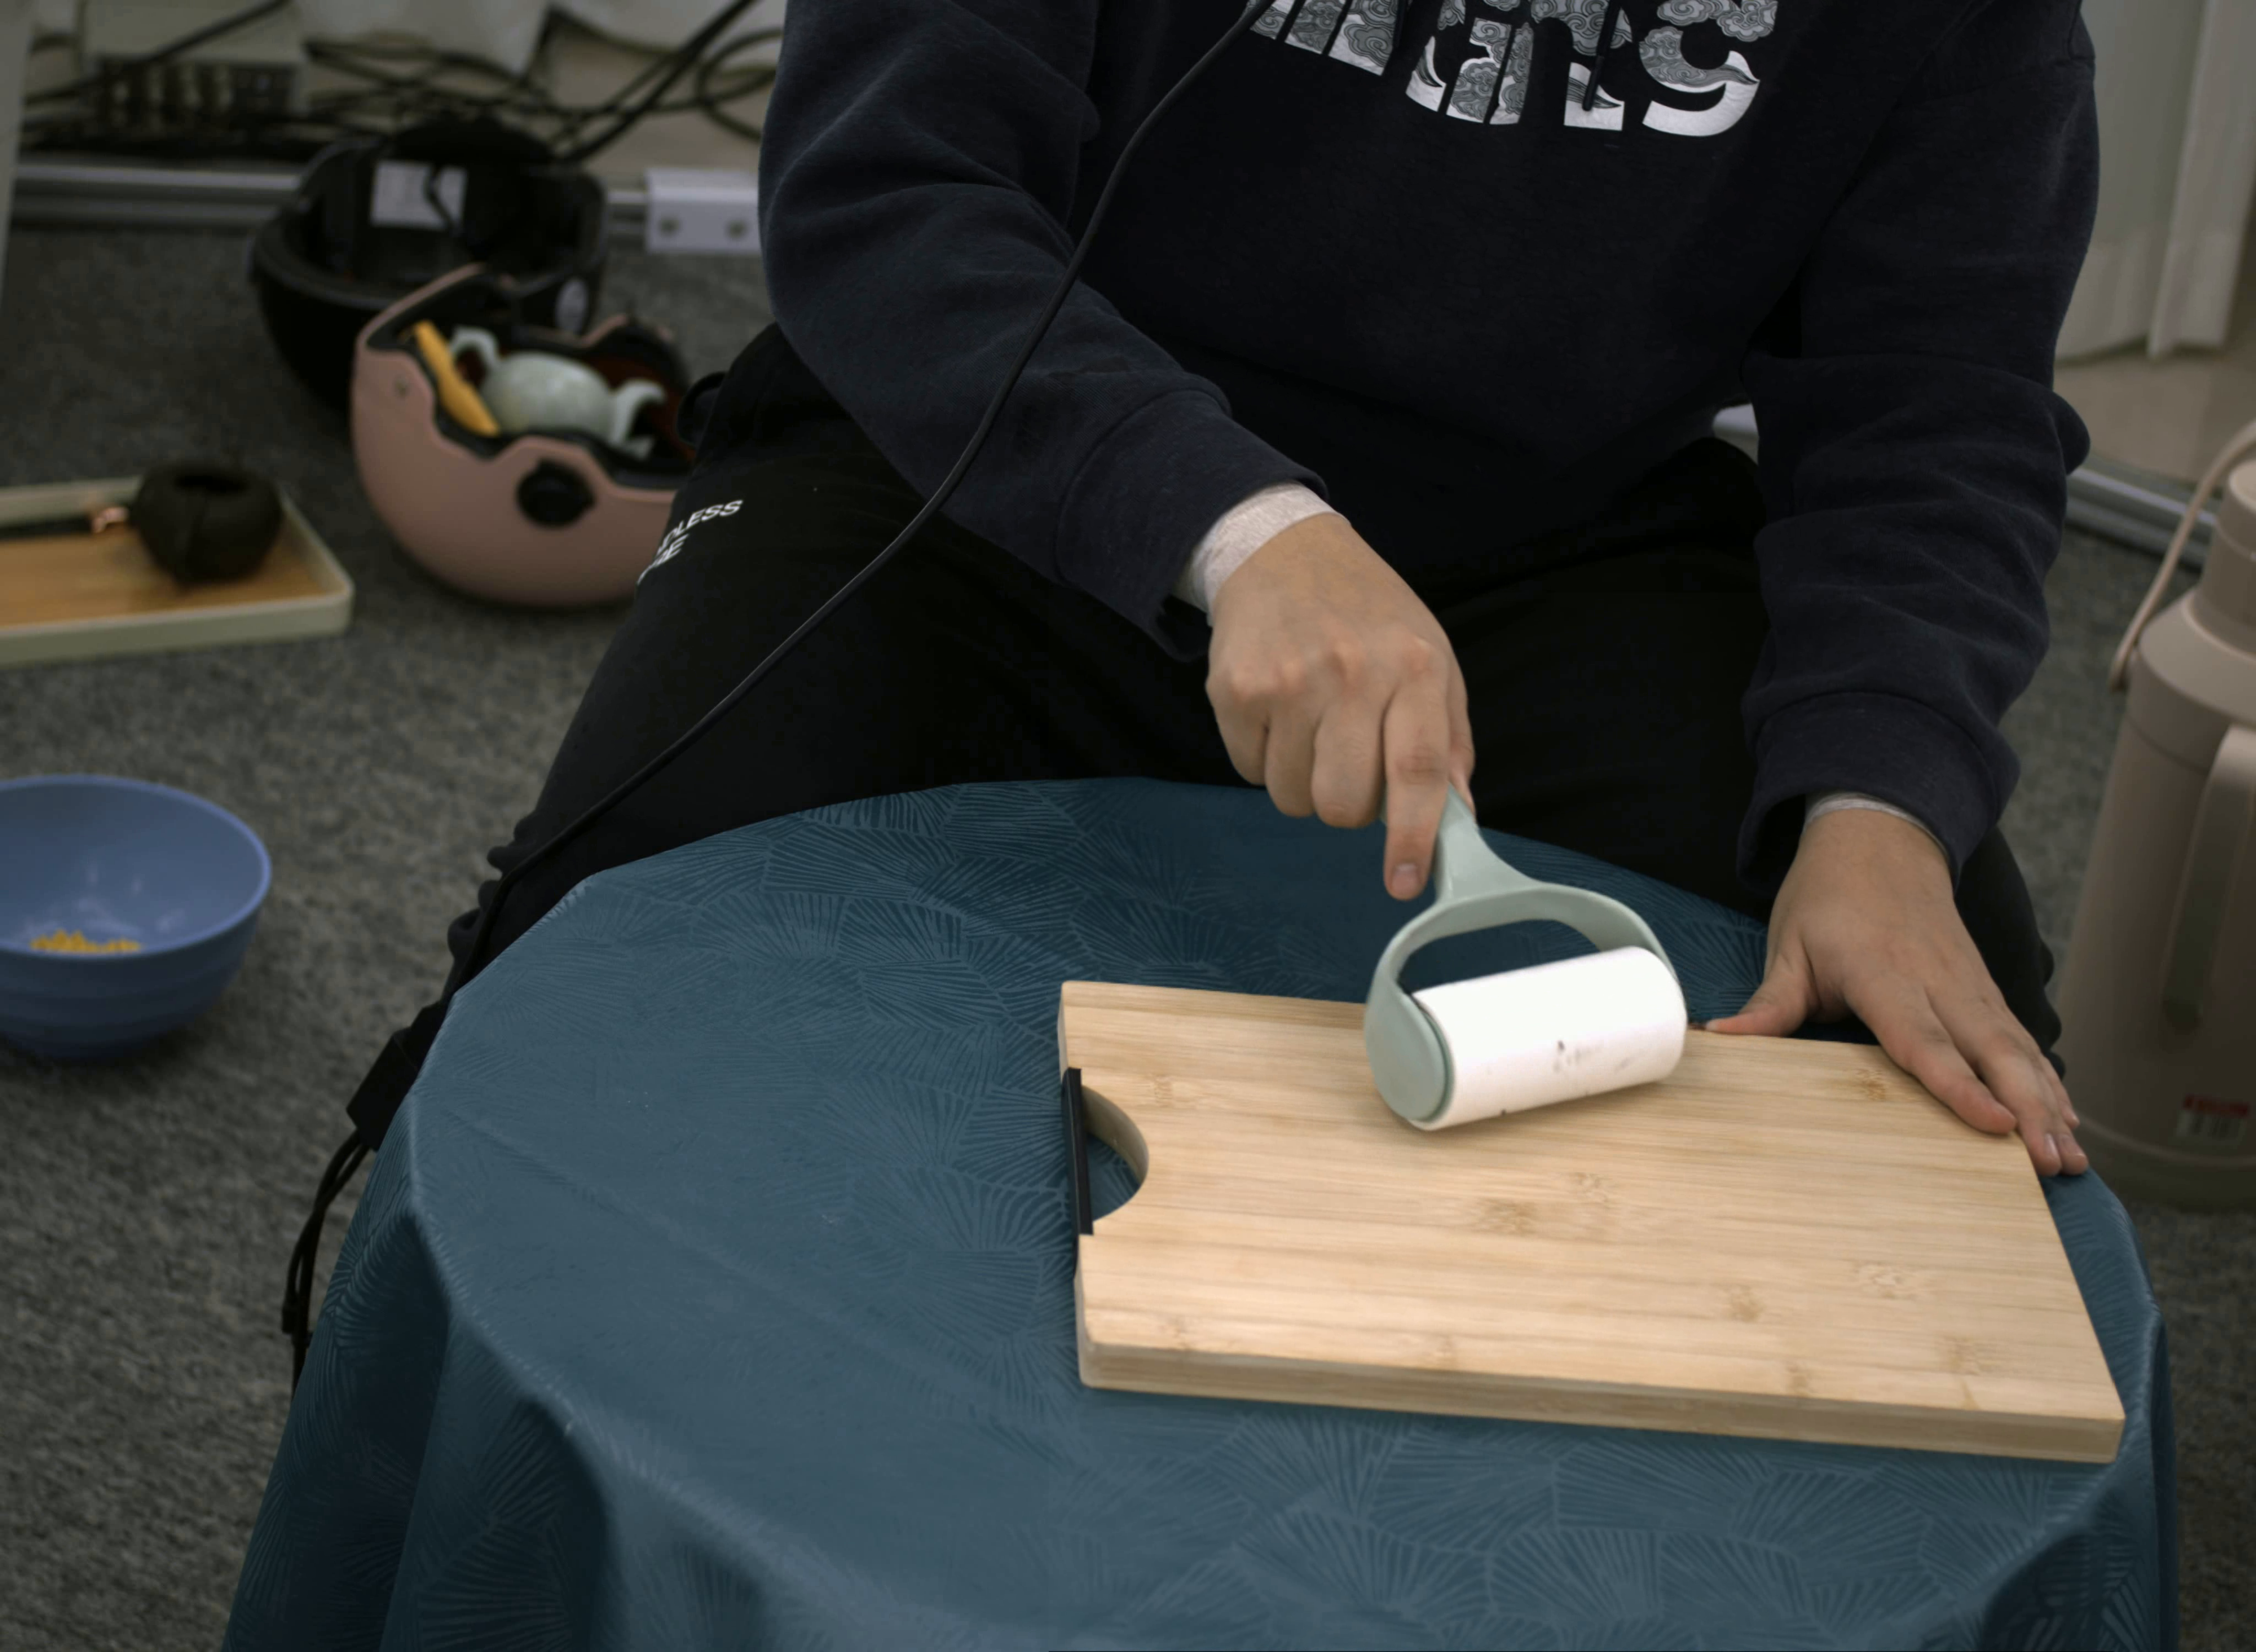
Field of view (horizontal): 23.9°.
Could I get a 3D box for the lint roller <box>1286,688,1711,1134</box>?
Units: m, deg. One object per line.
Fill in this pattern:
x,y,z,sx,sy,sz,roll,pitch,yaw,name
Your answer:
0.116,0.017,1.886,0.116,0.048,0.199,-12,57,-29,lint roller

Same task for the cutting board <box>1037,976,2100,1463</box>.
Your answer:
0.143,0.131,1.810,0.347,0.023,0.252,4,26,-5,cutting board
